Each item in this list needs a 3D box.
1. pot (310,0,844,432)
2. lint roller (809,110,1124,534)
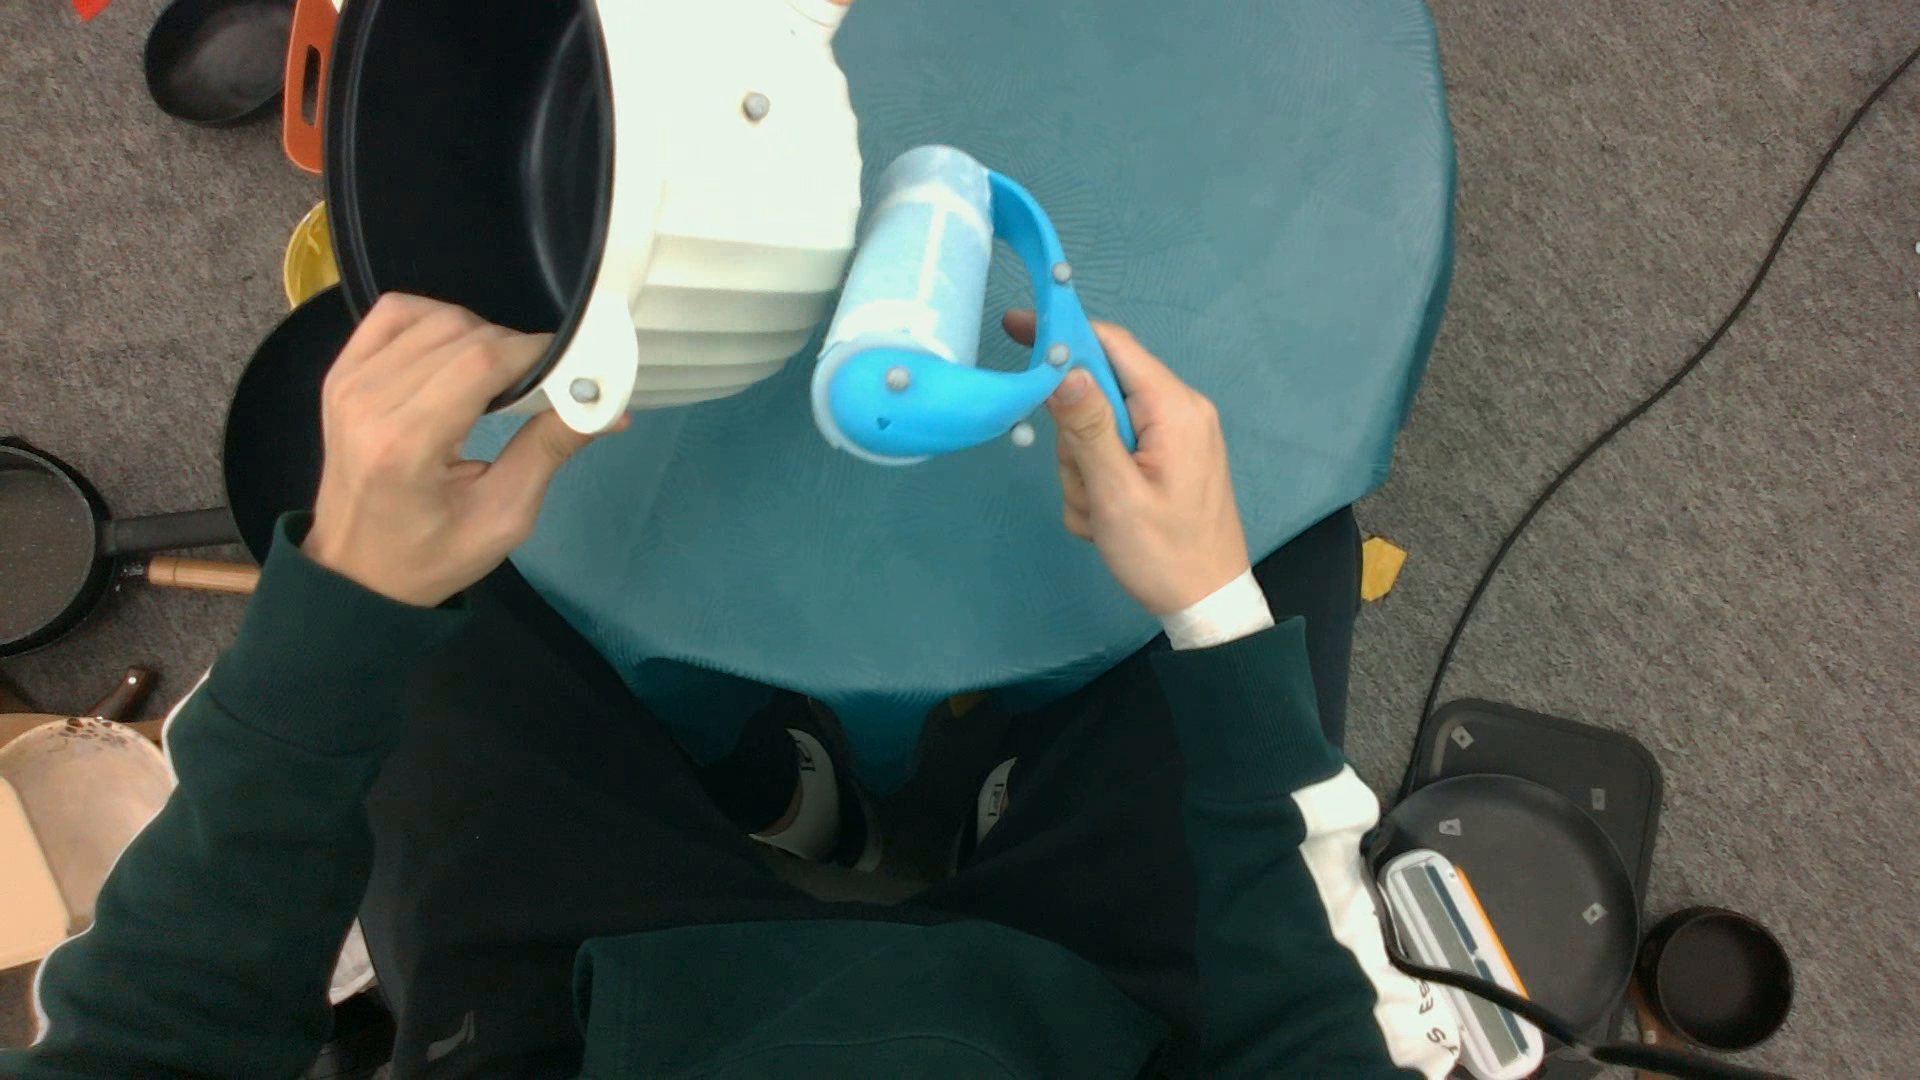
[{"bbox_3d":[-0.137,-0.143,0.525,0.240,0.143,0.189,54,127,19],"label":"pot"},{"bbox_3d":[0.022,-0.077,0.554,0.067,0.230,0.180,-40,117,23],"label":"lint roller"}]
